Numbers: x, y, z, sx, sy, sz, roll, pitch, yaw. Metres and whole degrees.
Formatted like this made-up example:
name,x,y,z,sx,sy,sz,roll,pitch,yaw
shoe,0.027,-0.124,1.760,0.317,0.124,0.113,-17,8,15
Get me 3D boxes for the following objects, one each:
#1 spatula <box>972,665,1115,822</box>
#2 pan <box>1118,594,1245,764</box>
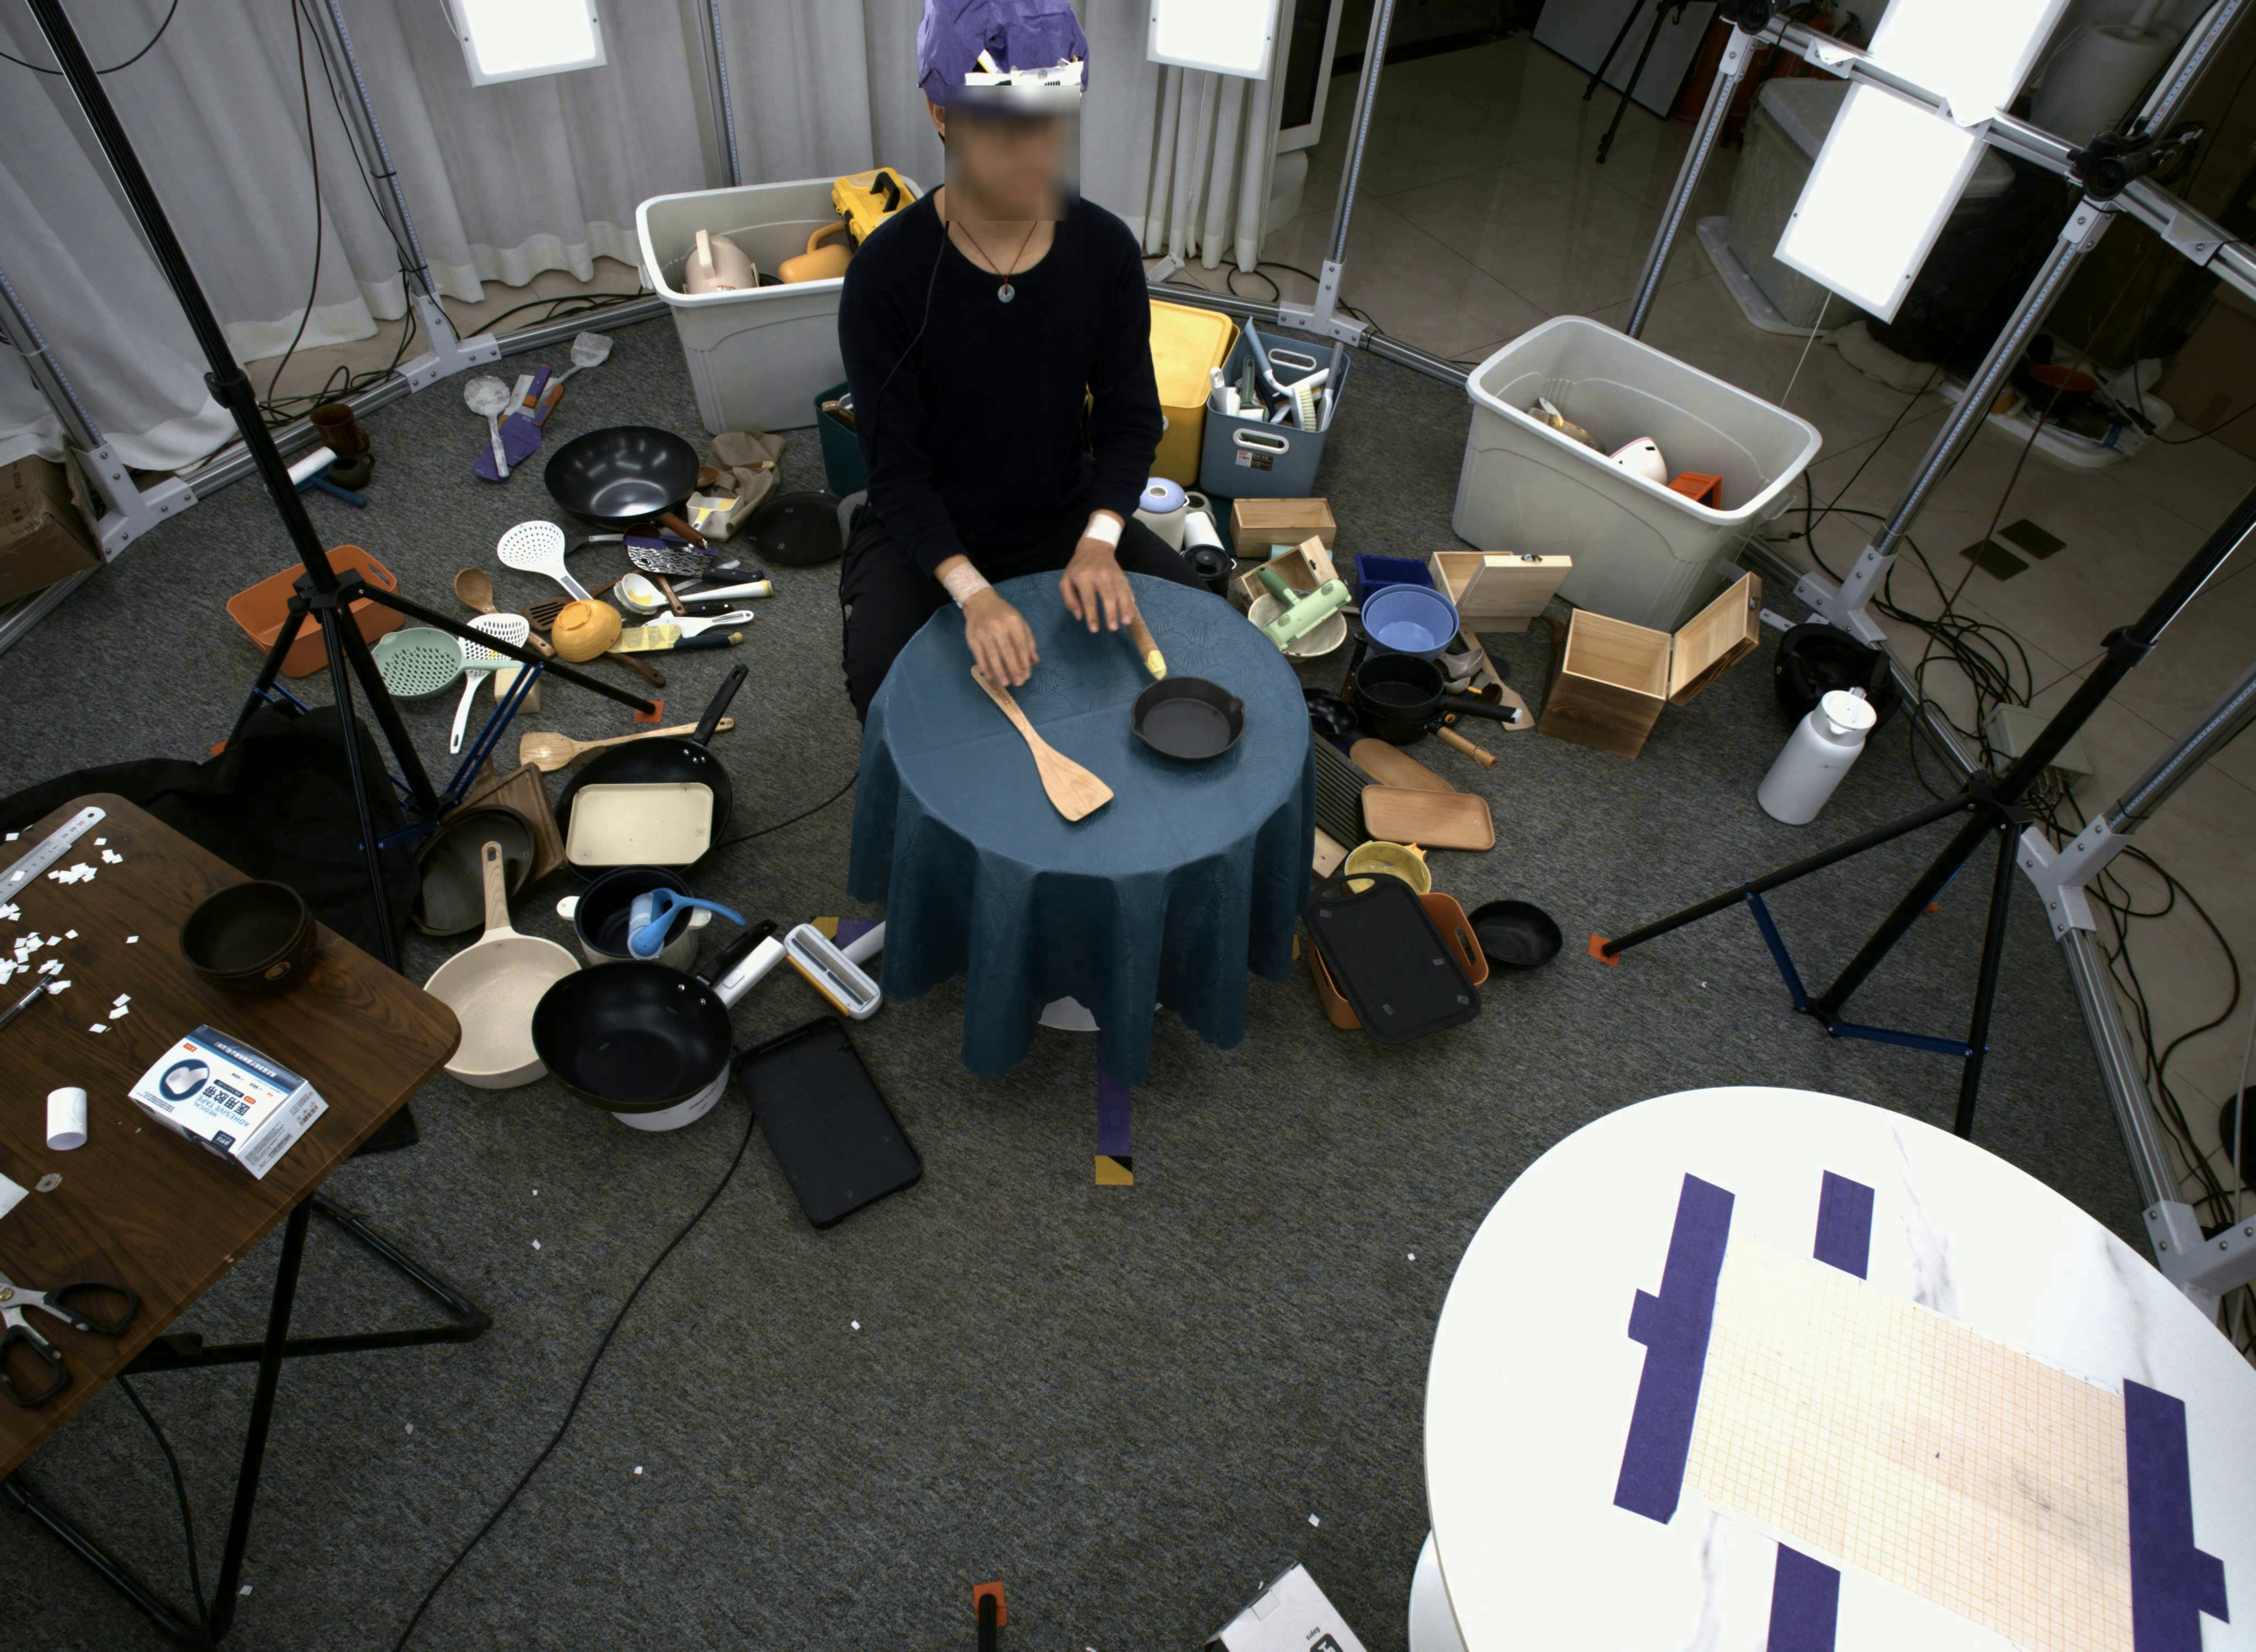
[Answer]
name,x,y,z,sx,sy,sz,roll,pitch,yaw
spatula,-0.128,-0.123,1.756,0.080,0.016,0.334,-23,54,-23
pan,0.053,-0.210,1.822,0.169,0.048,0.332,-14,53,-15
